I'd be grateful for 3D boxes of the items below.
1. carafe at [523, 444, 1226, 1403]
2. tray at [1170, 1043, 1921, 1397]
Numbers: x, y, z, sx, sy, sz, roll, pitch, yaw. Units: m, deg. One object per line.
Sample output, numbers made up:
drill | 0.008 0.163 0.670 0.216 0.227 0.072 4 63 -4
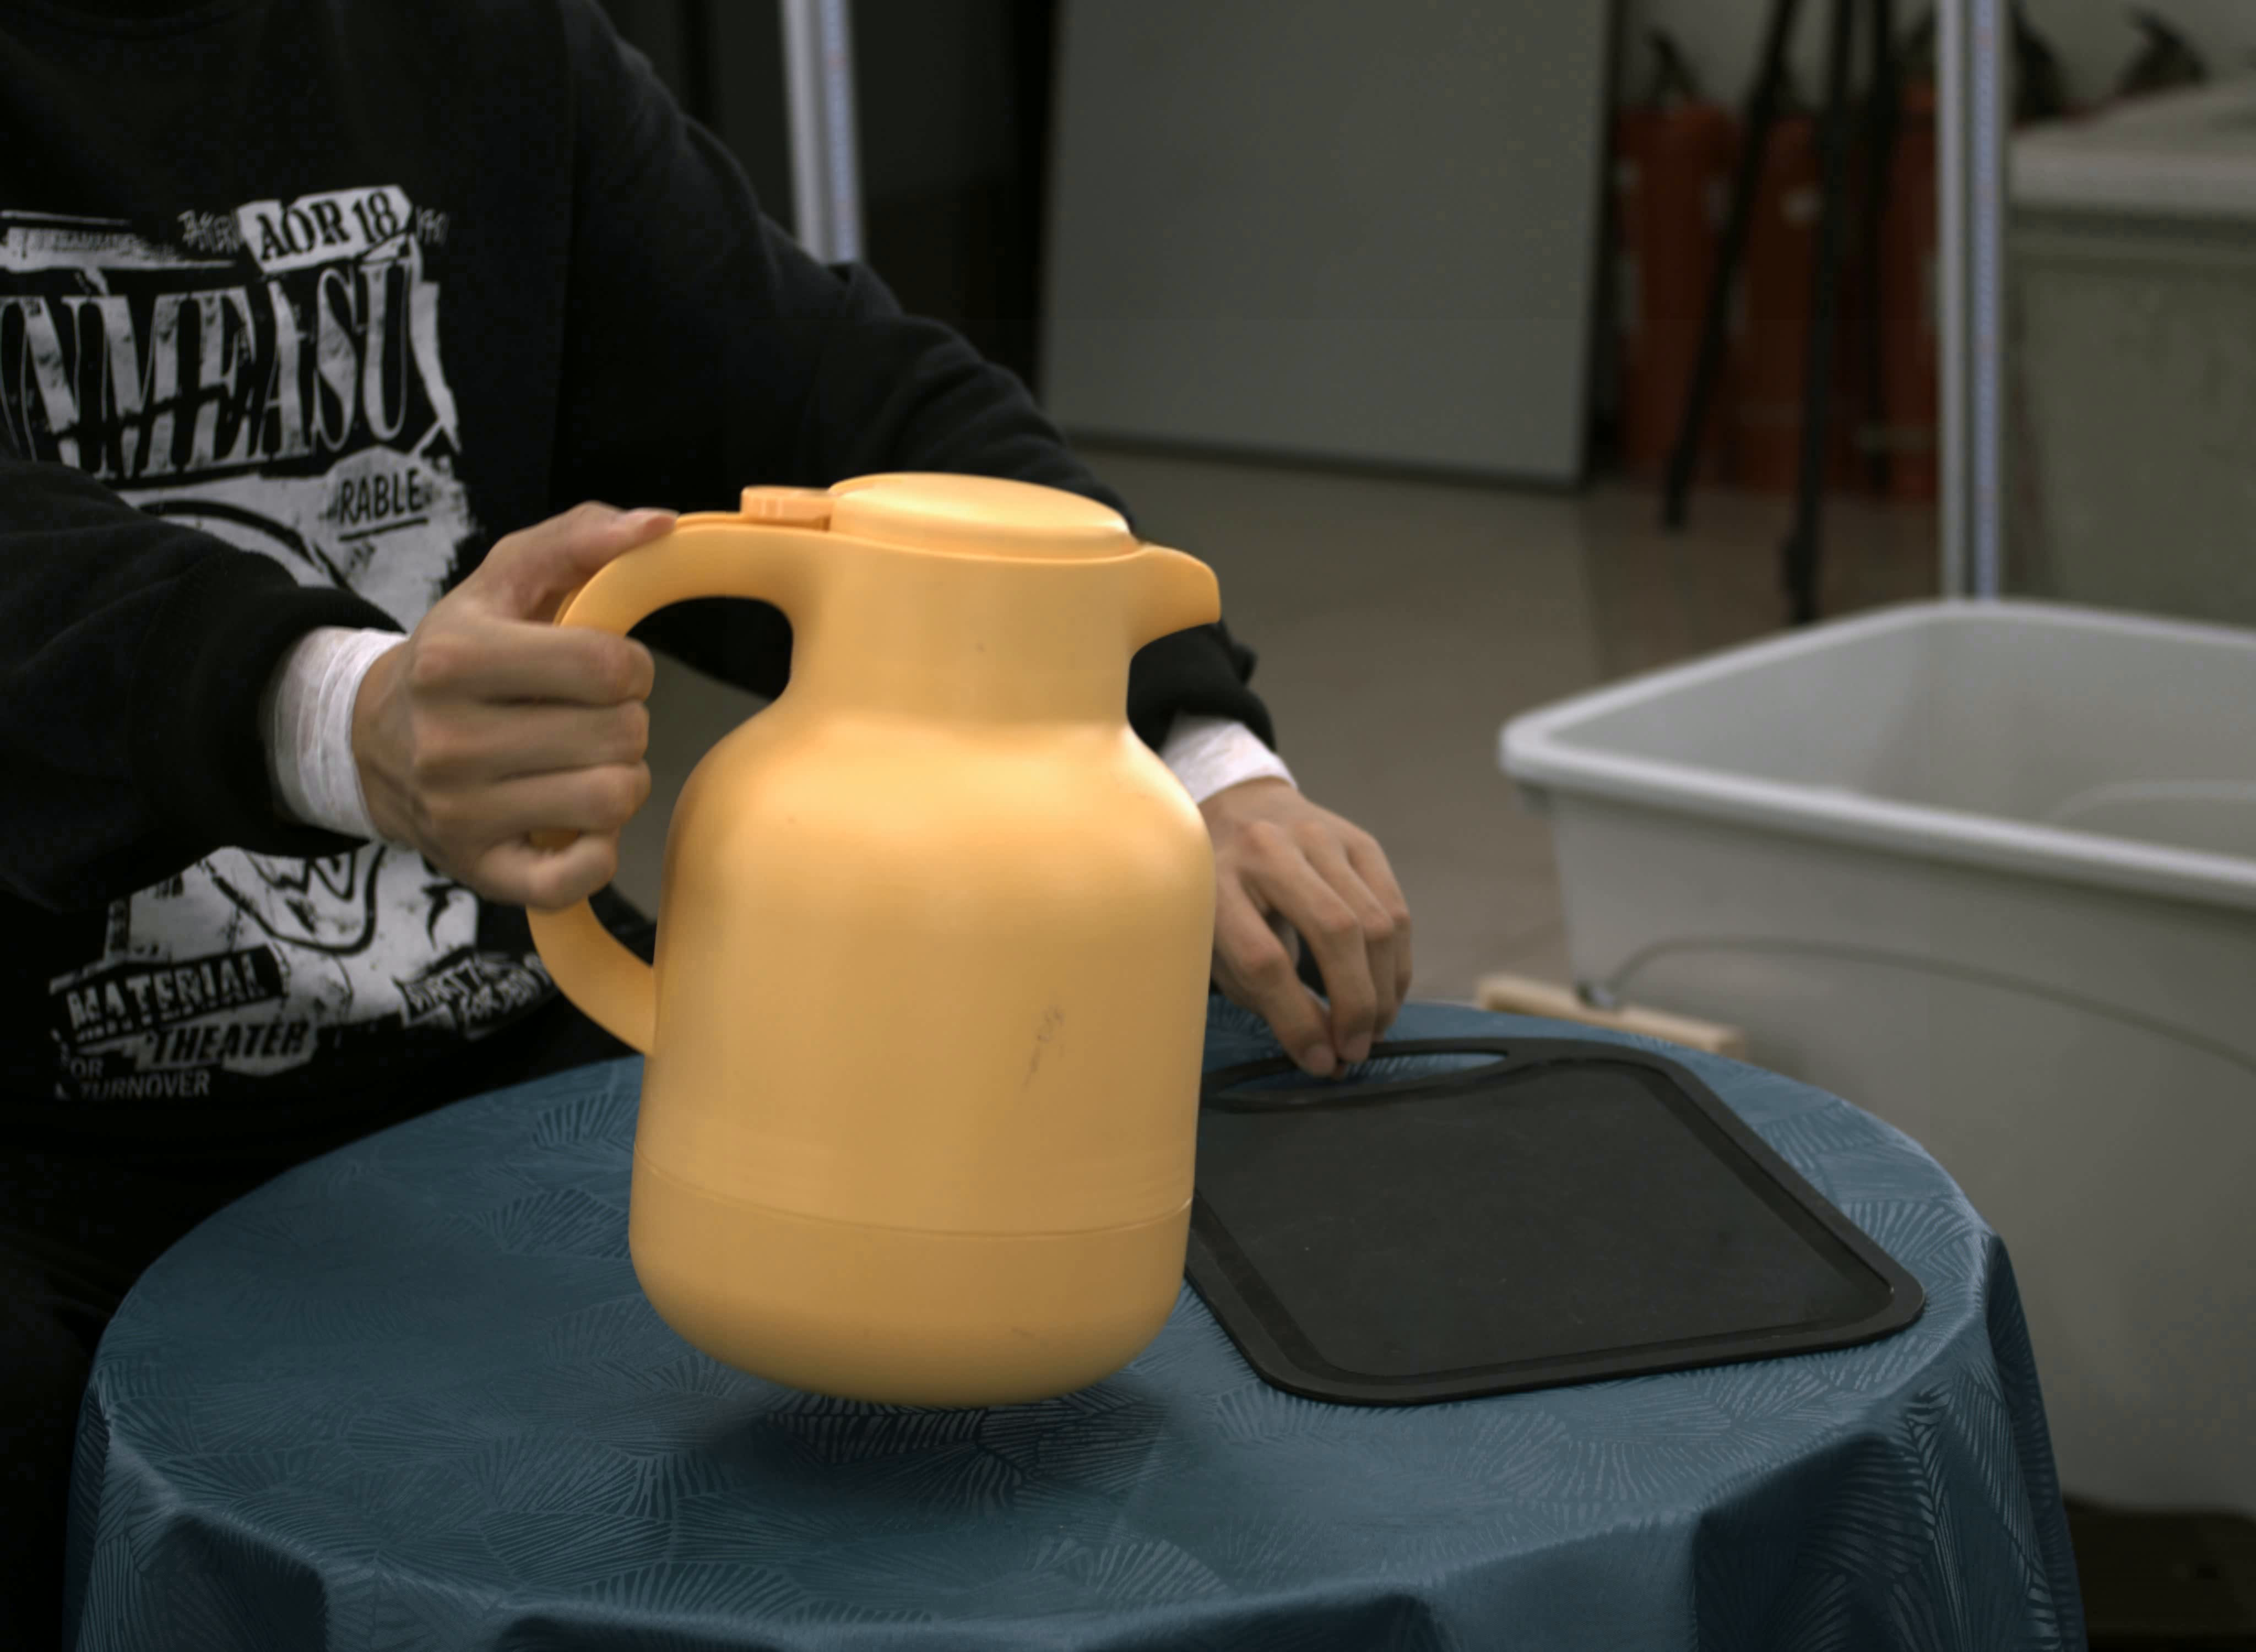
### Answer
carafe | -0.075 0.022 1.545 0.199 0.264 0.164 6 7 -6
tray | 0.113 0.119 1.723 0.207 0.010 0.327 -6 15 -10
